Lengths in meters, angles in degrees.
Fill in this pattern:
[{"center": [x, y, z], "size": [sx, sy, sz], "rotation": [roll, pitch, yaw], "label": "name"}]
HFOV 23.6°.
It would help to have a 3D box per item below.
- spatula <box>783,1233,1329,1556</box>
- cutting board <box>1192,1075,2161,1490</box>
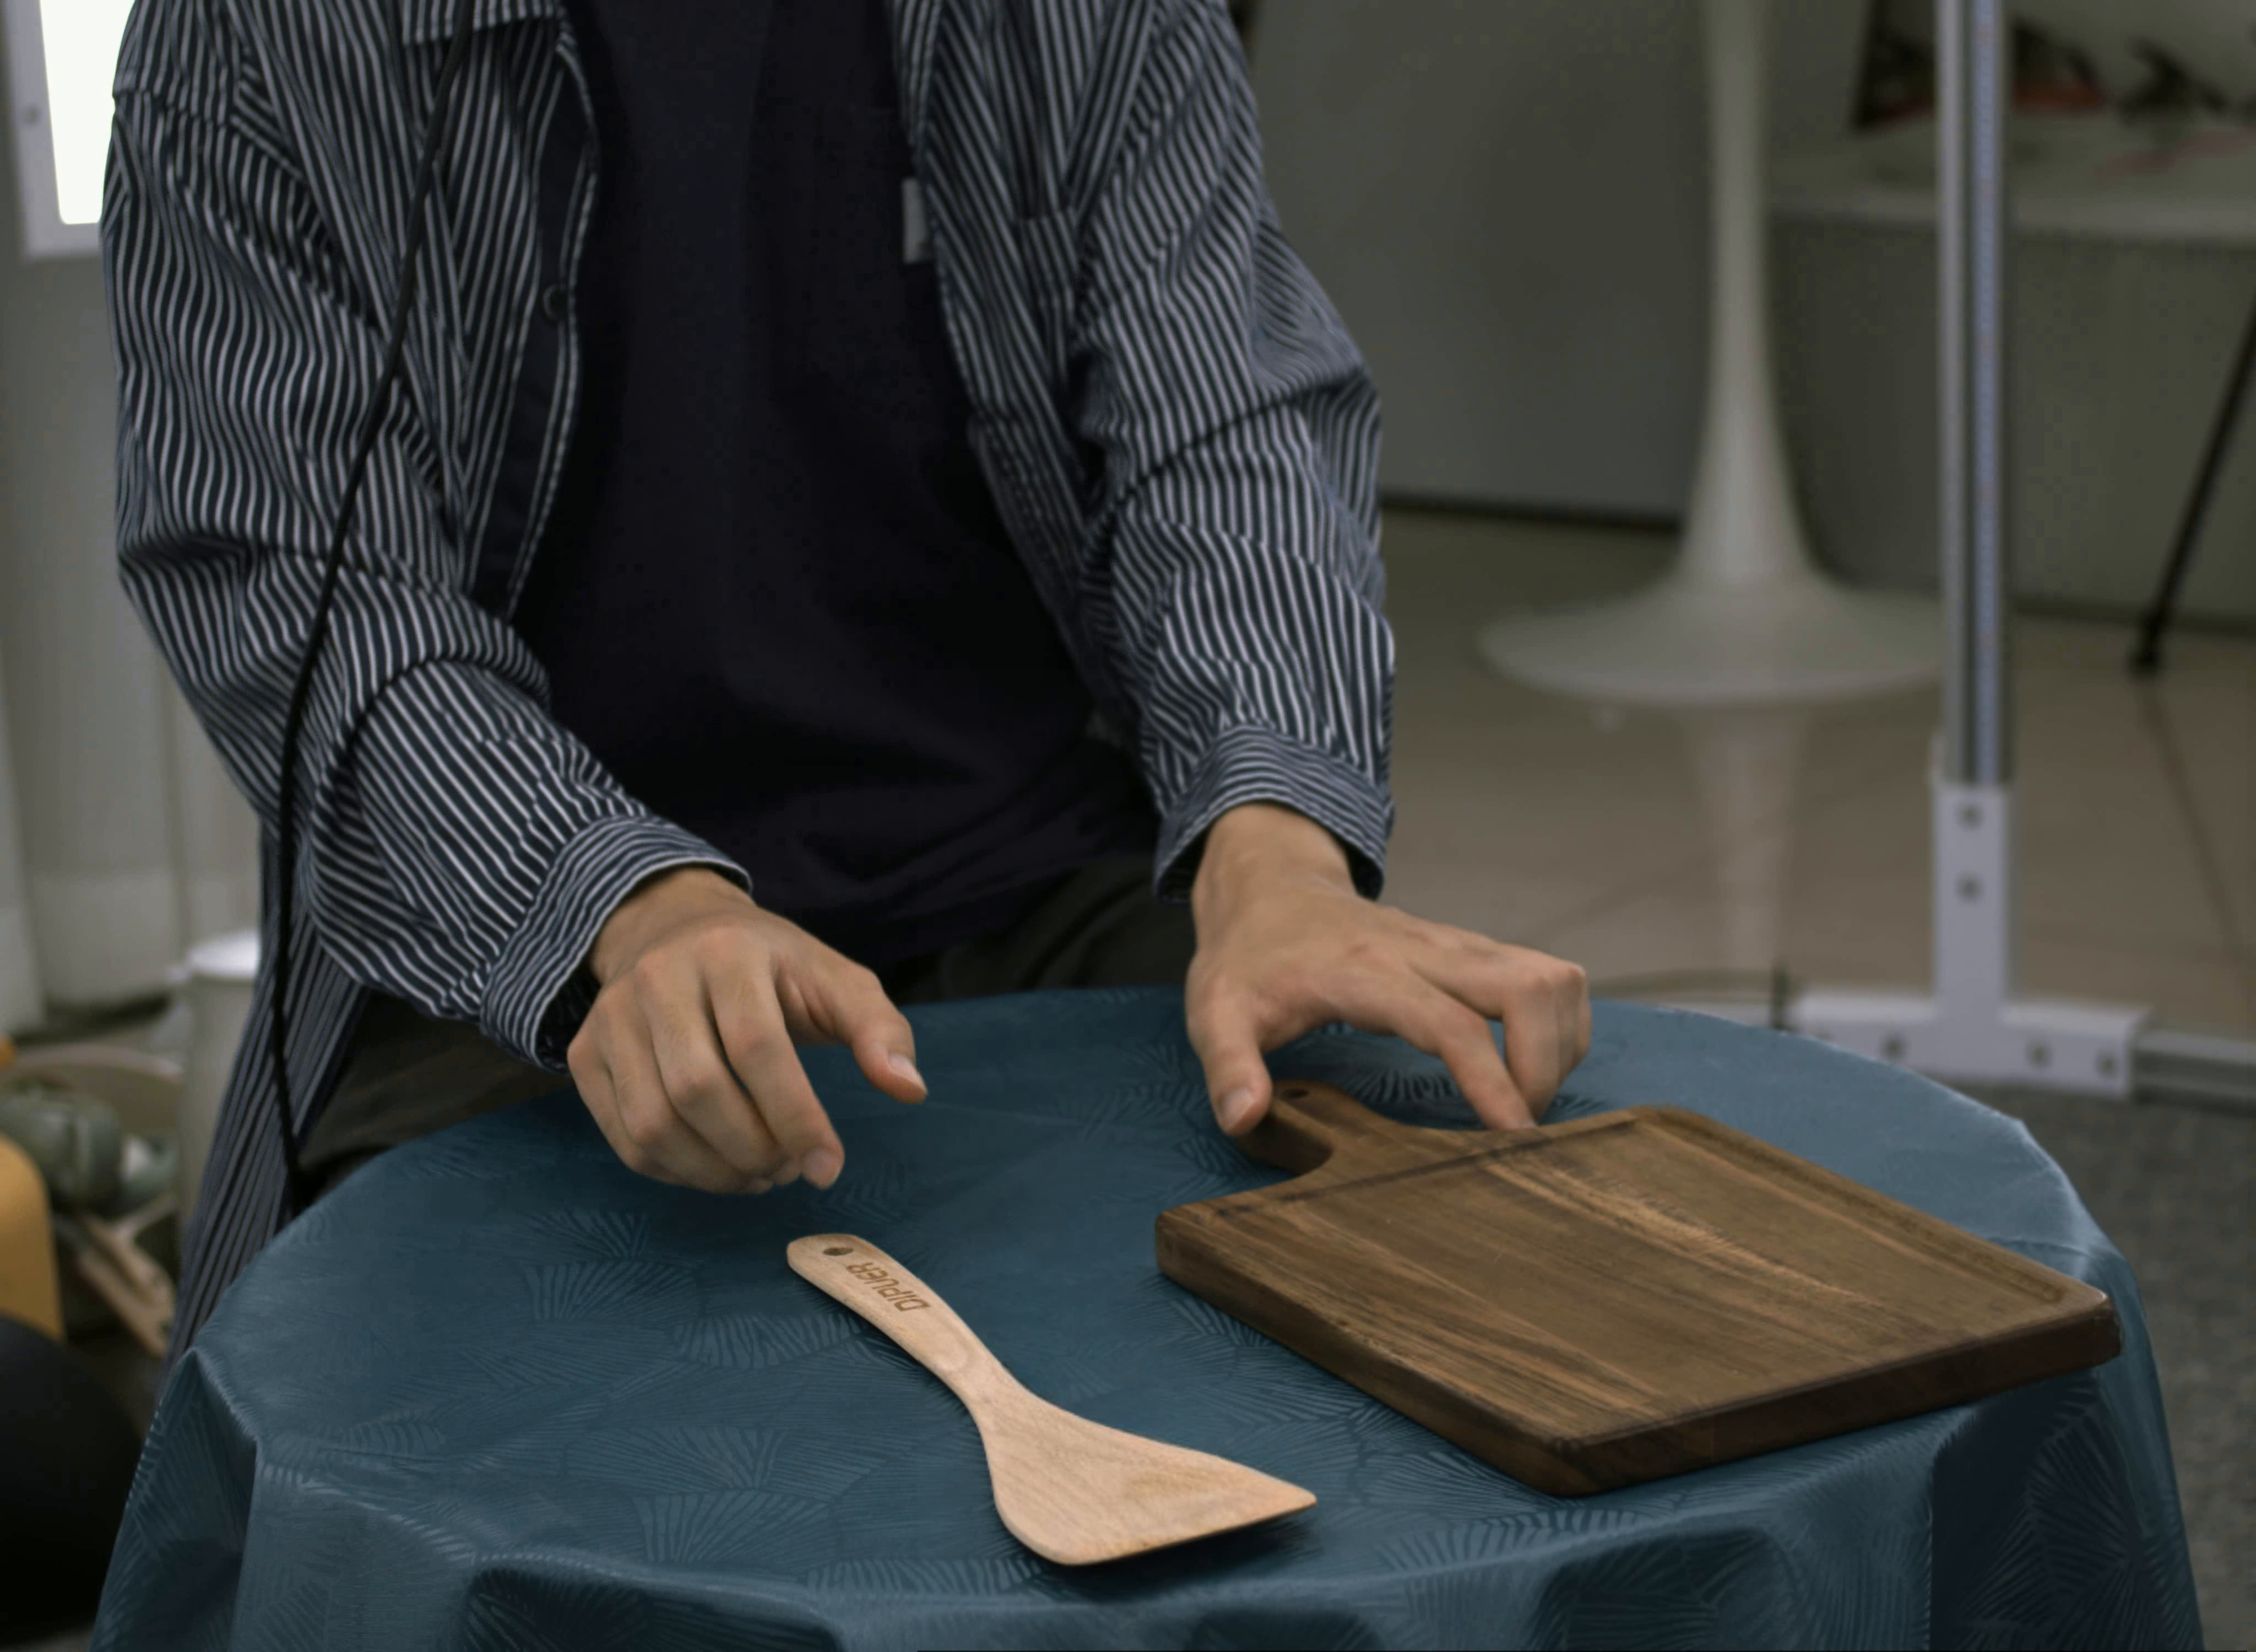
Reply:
[{"center": [-0.037, 0.161, 1.581], "size": [0.078, 0.017, 0.331], "rotation": [-9, 15, -21], "label": "spatula"}, {"center": [0.138, 0.127, 1.663], "size": [0.197, 0.023, 0.356], "rotation": [-10, 15, -24], "label": "cutting board"}]
